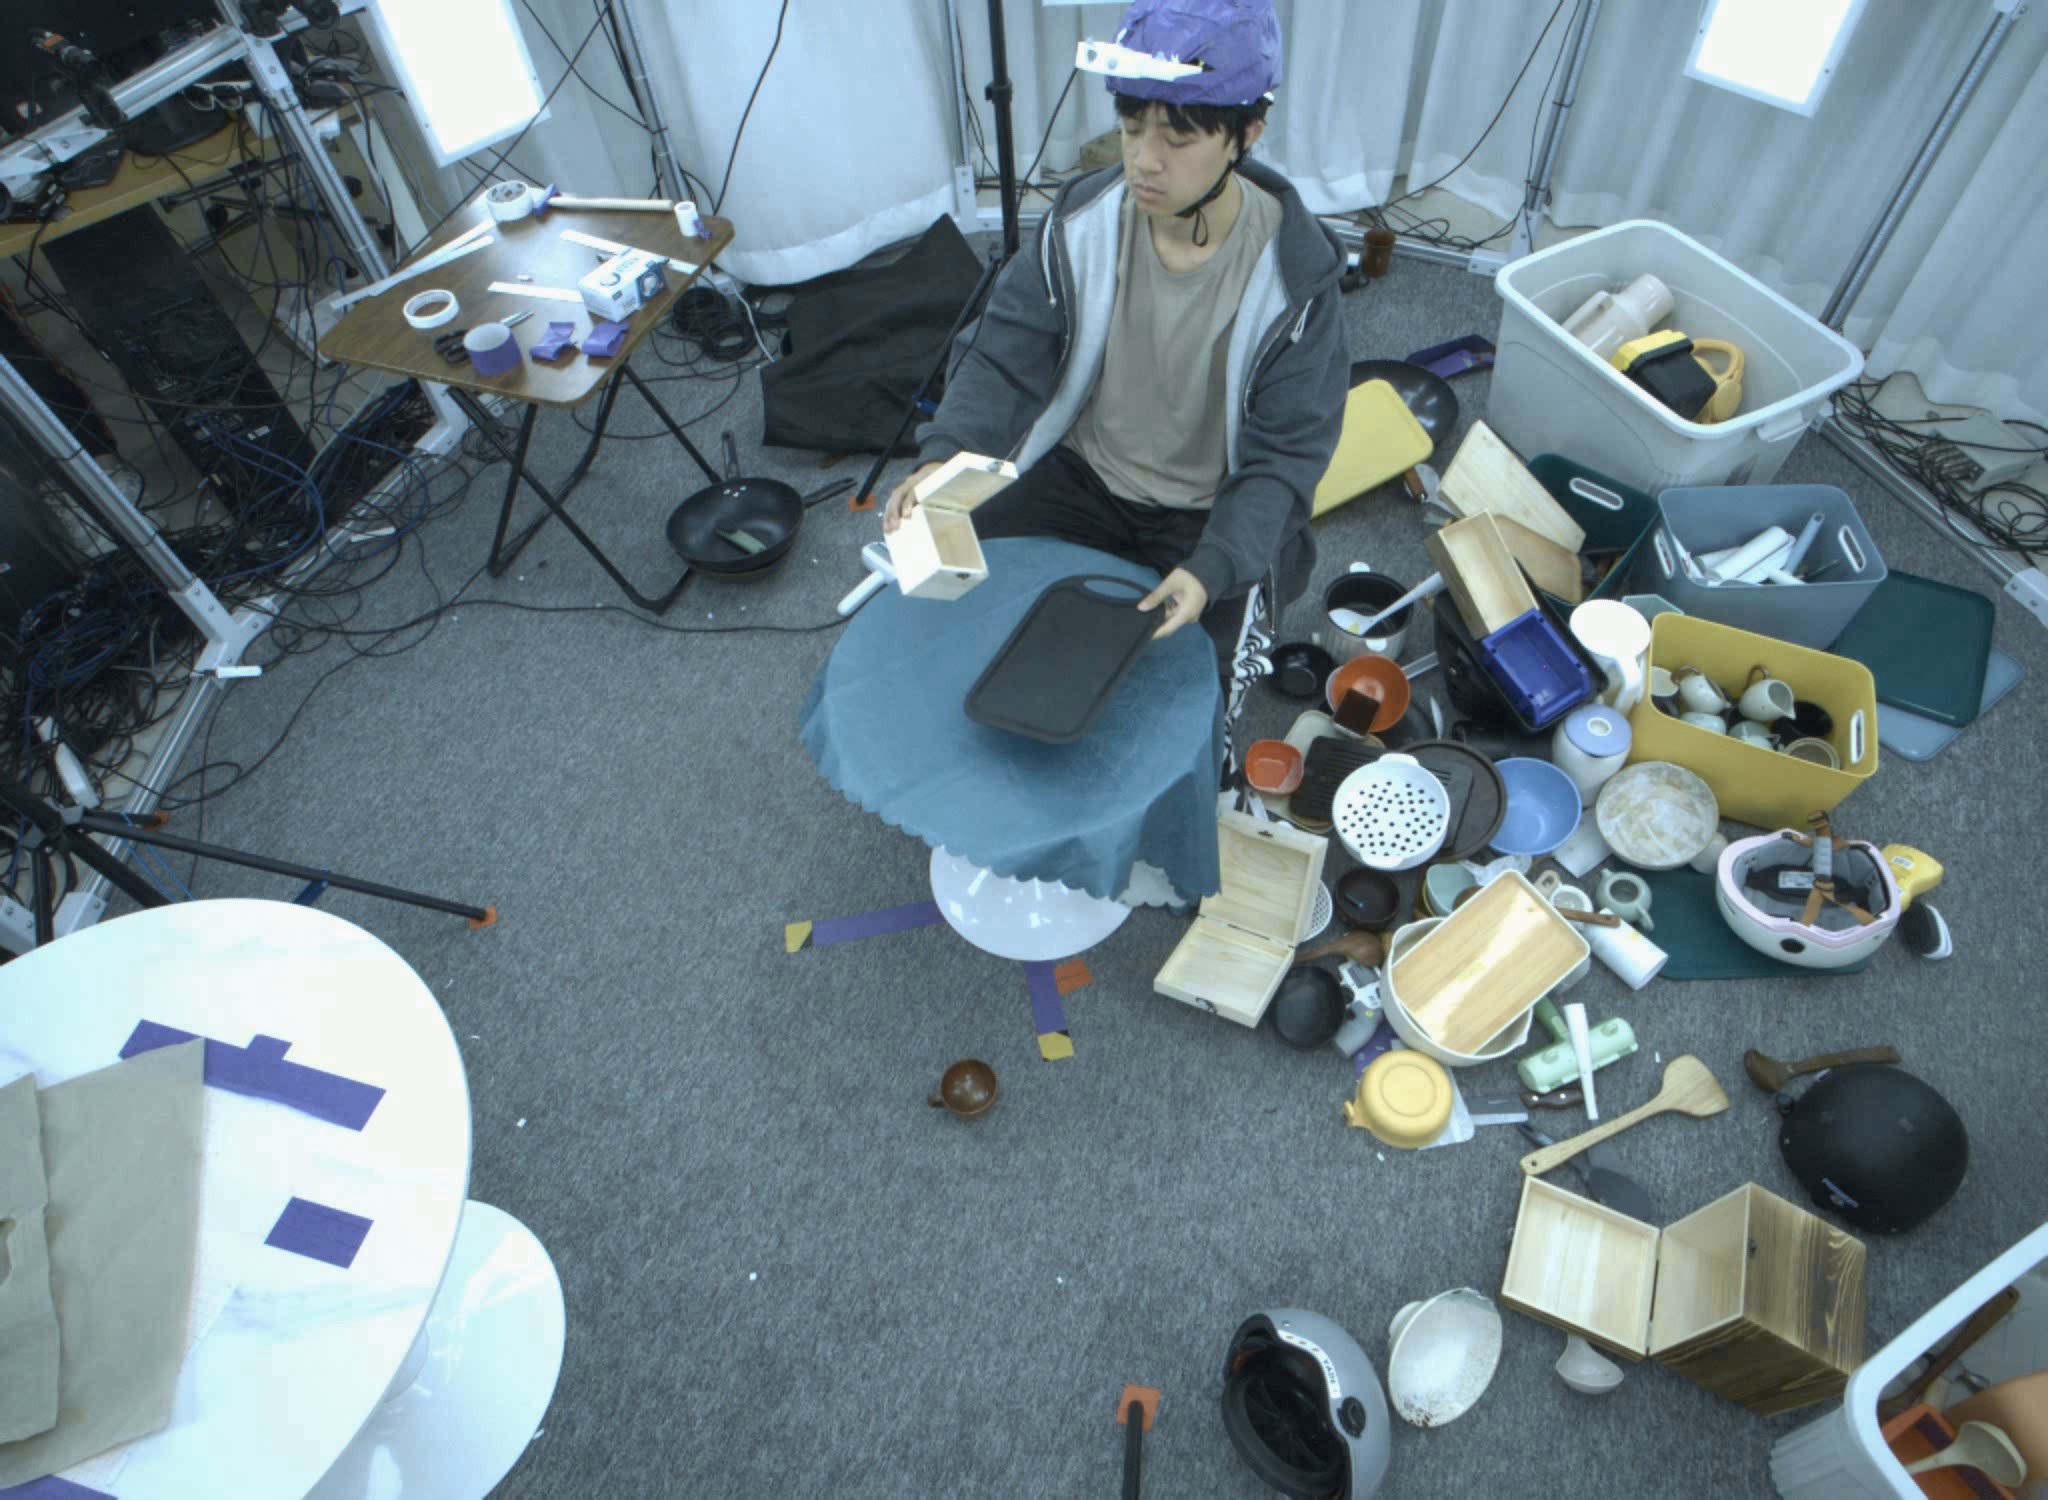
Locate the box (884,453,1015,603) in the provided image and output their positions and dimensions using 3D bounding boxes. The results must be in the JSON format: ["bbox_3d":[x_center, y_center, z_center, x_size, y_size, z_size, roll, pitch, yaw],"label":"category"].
[{"bbox_3d":[-0.092,-0.302,1.681,0.105,0.182,0.133,-4,68,-48],"label":"box"}]

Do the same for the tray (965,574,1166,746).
[{"bbox_3d":[0.065,-0.143,1.787,0.207,0.010,0.326,18,59,29],"label":"tray"}]
